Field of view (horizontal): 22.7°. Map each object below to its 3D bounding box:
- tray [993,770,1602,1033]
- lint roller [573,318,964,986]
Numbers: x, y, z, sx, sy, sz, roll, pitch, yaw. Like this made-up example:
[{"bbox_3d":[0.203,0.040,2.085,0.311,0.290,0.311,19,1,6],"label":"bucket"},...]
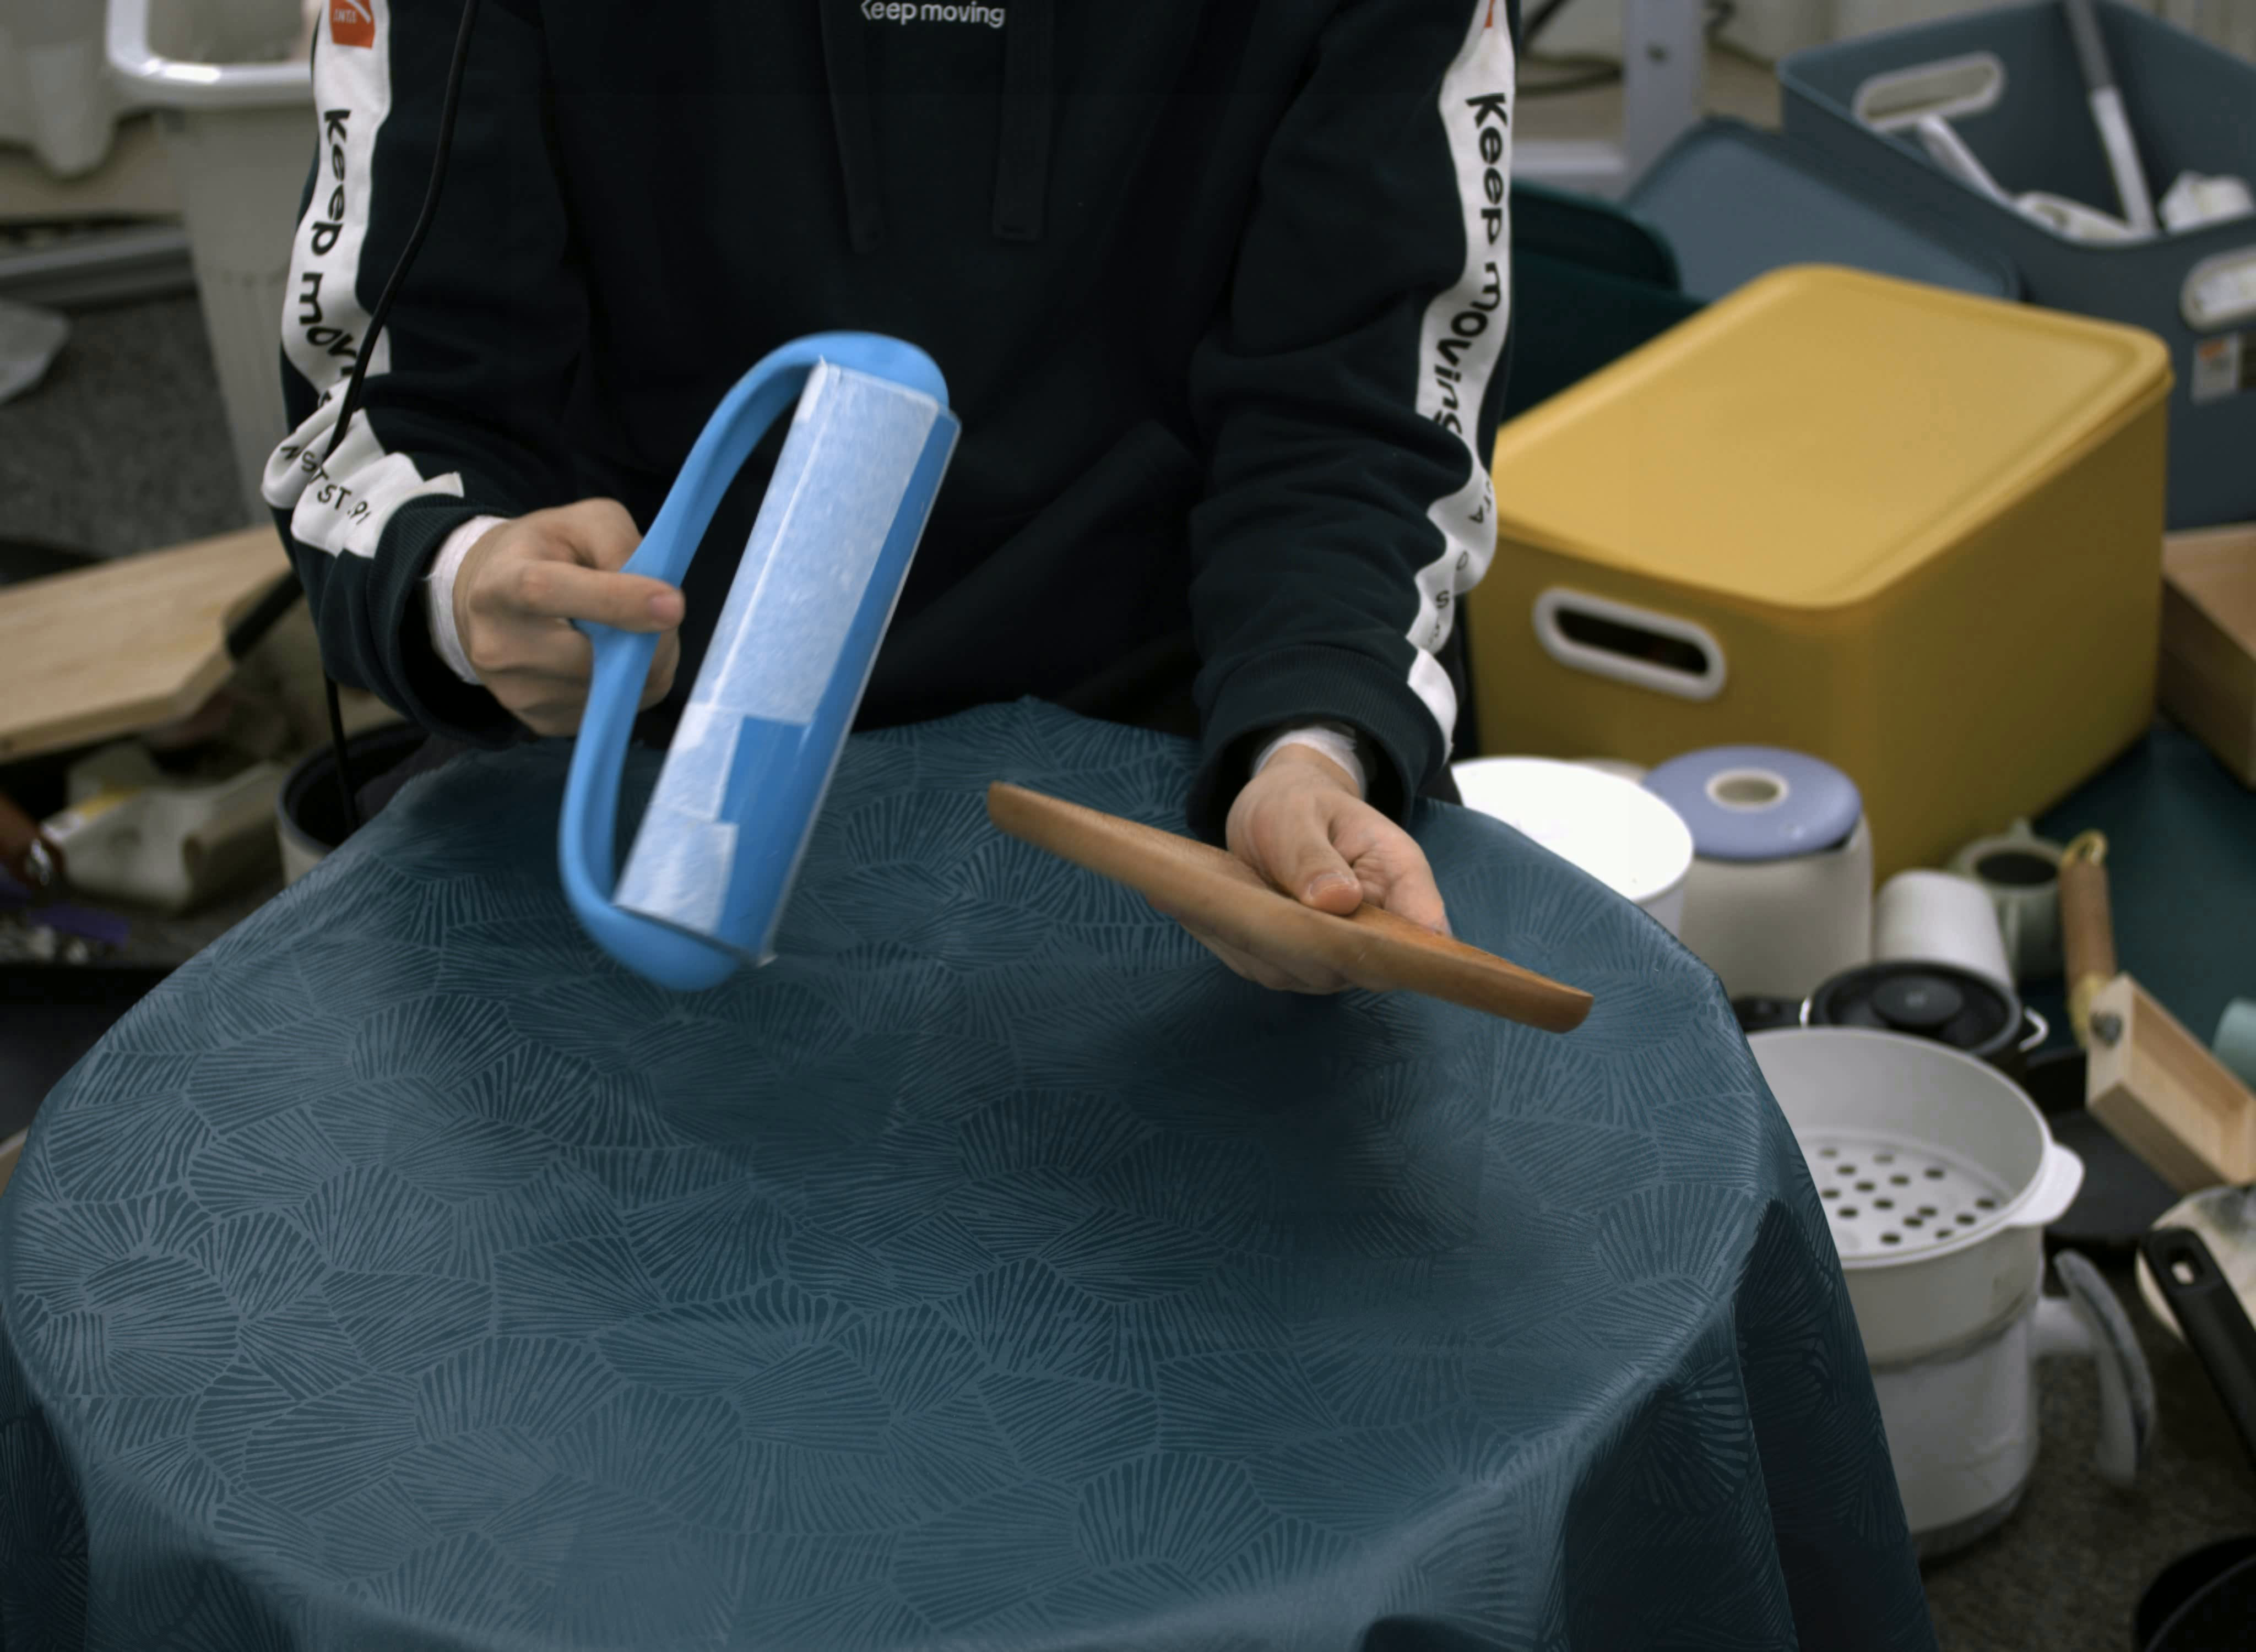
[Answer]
[{"bbox_3d":[0.050,0.024,1.841,0.130,0.023,0.250,22,-1,-26],"label":"tray"},{"bbox_3d":[-0.148,-0.063,1.904,0.068,0.231,0.179,24,-12,-40],"label":"lint roller"}]
